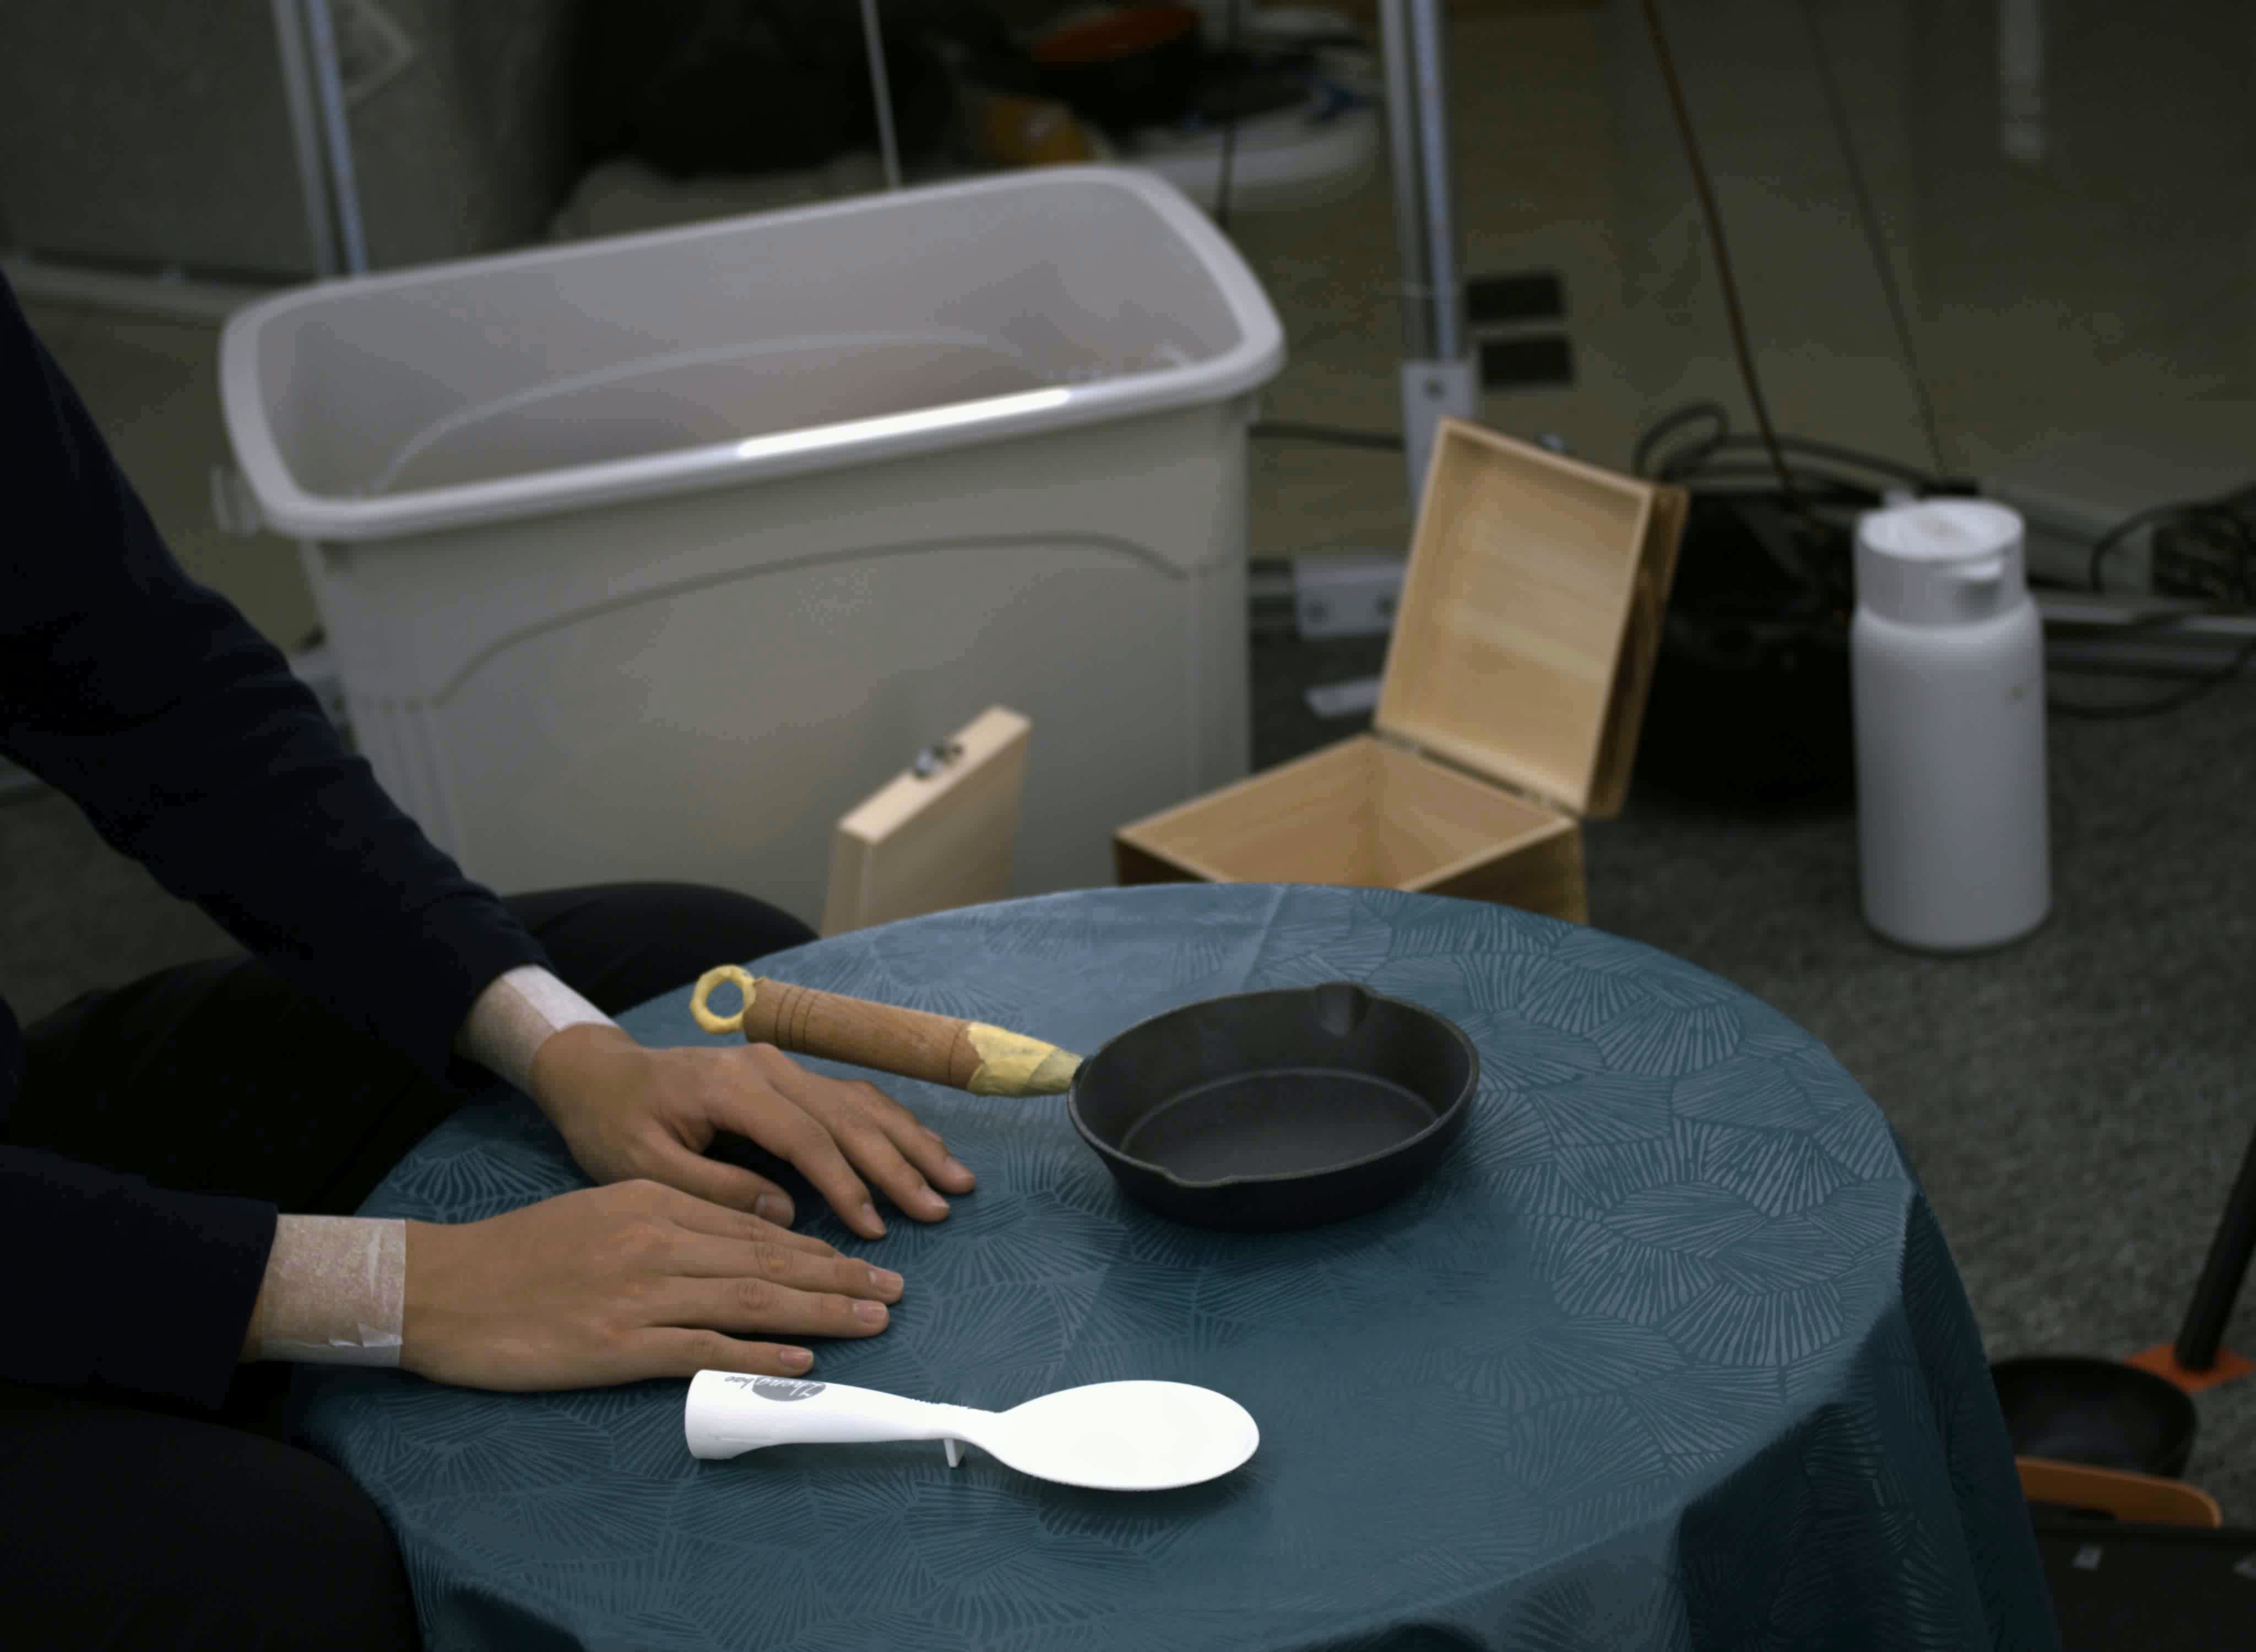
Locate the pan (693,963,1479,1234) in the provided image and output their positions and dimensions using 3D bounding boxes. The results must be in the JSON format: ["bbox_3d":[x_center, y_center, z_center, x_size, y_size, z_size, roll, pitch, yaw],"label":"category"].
[{"bbox_3d":[-0.021,0.095,2.186,0.323,0.050,0.167,7,28,24],"label":"pan"}]

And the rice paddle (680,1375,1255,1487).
[{"bbox_3d":[-0.055,0.208,1.978,0.205,0.030,0.068,0,28,15],"label":"rice paddle"}]
